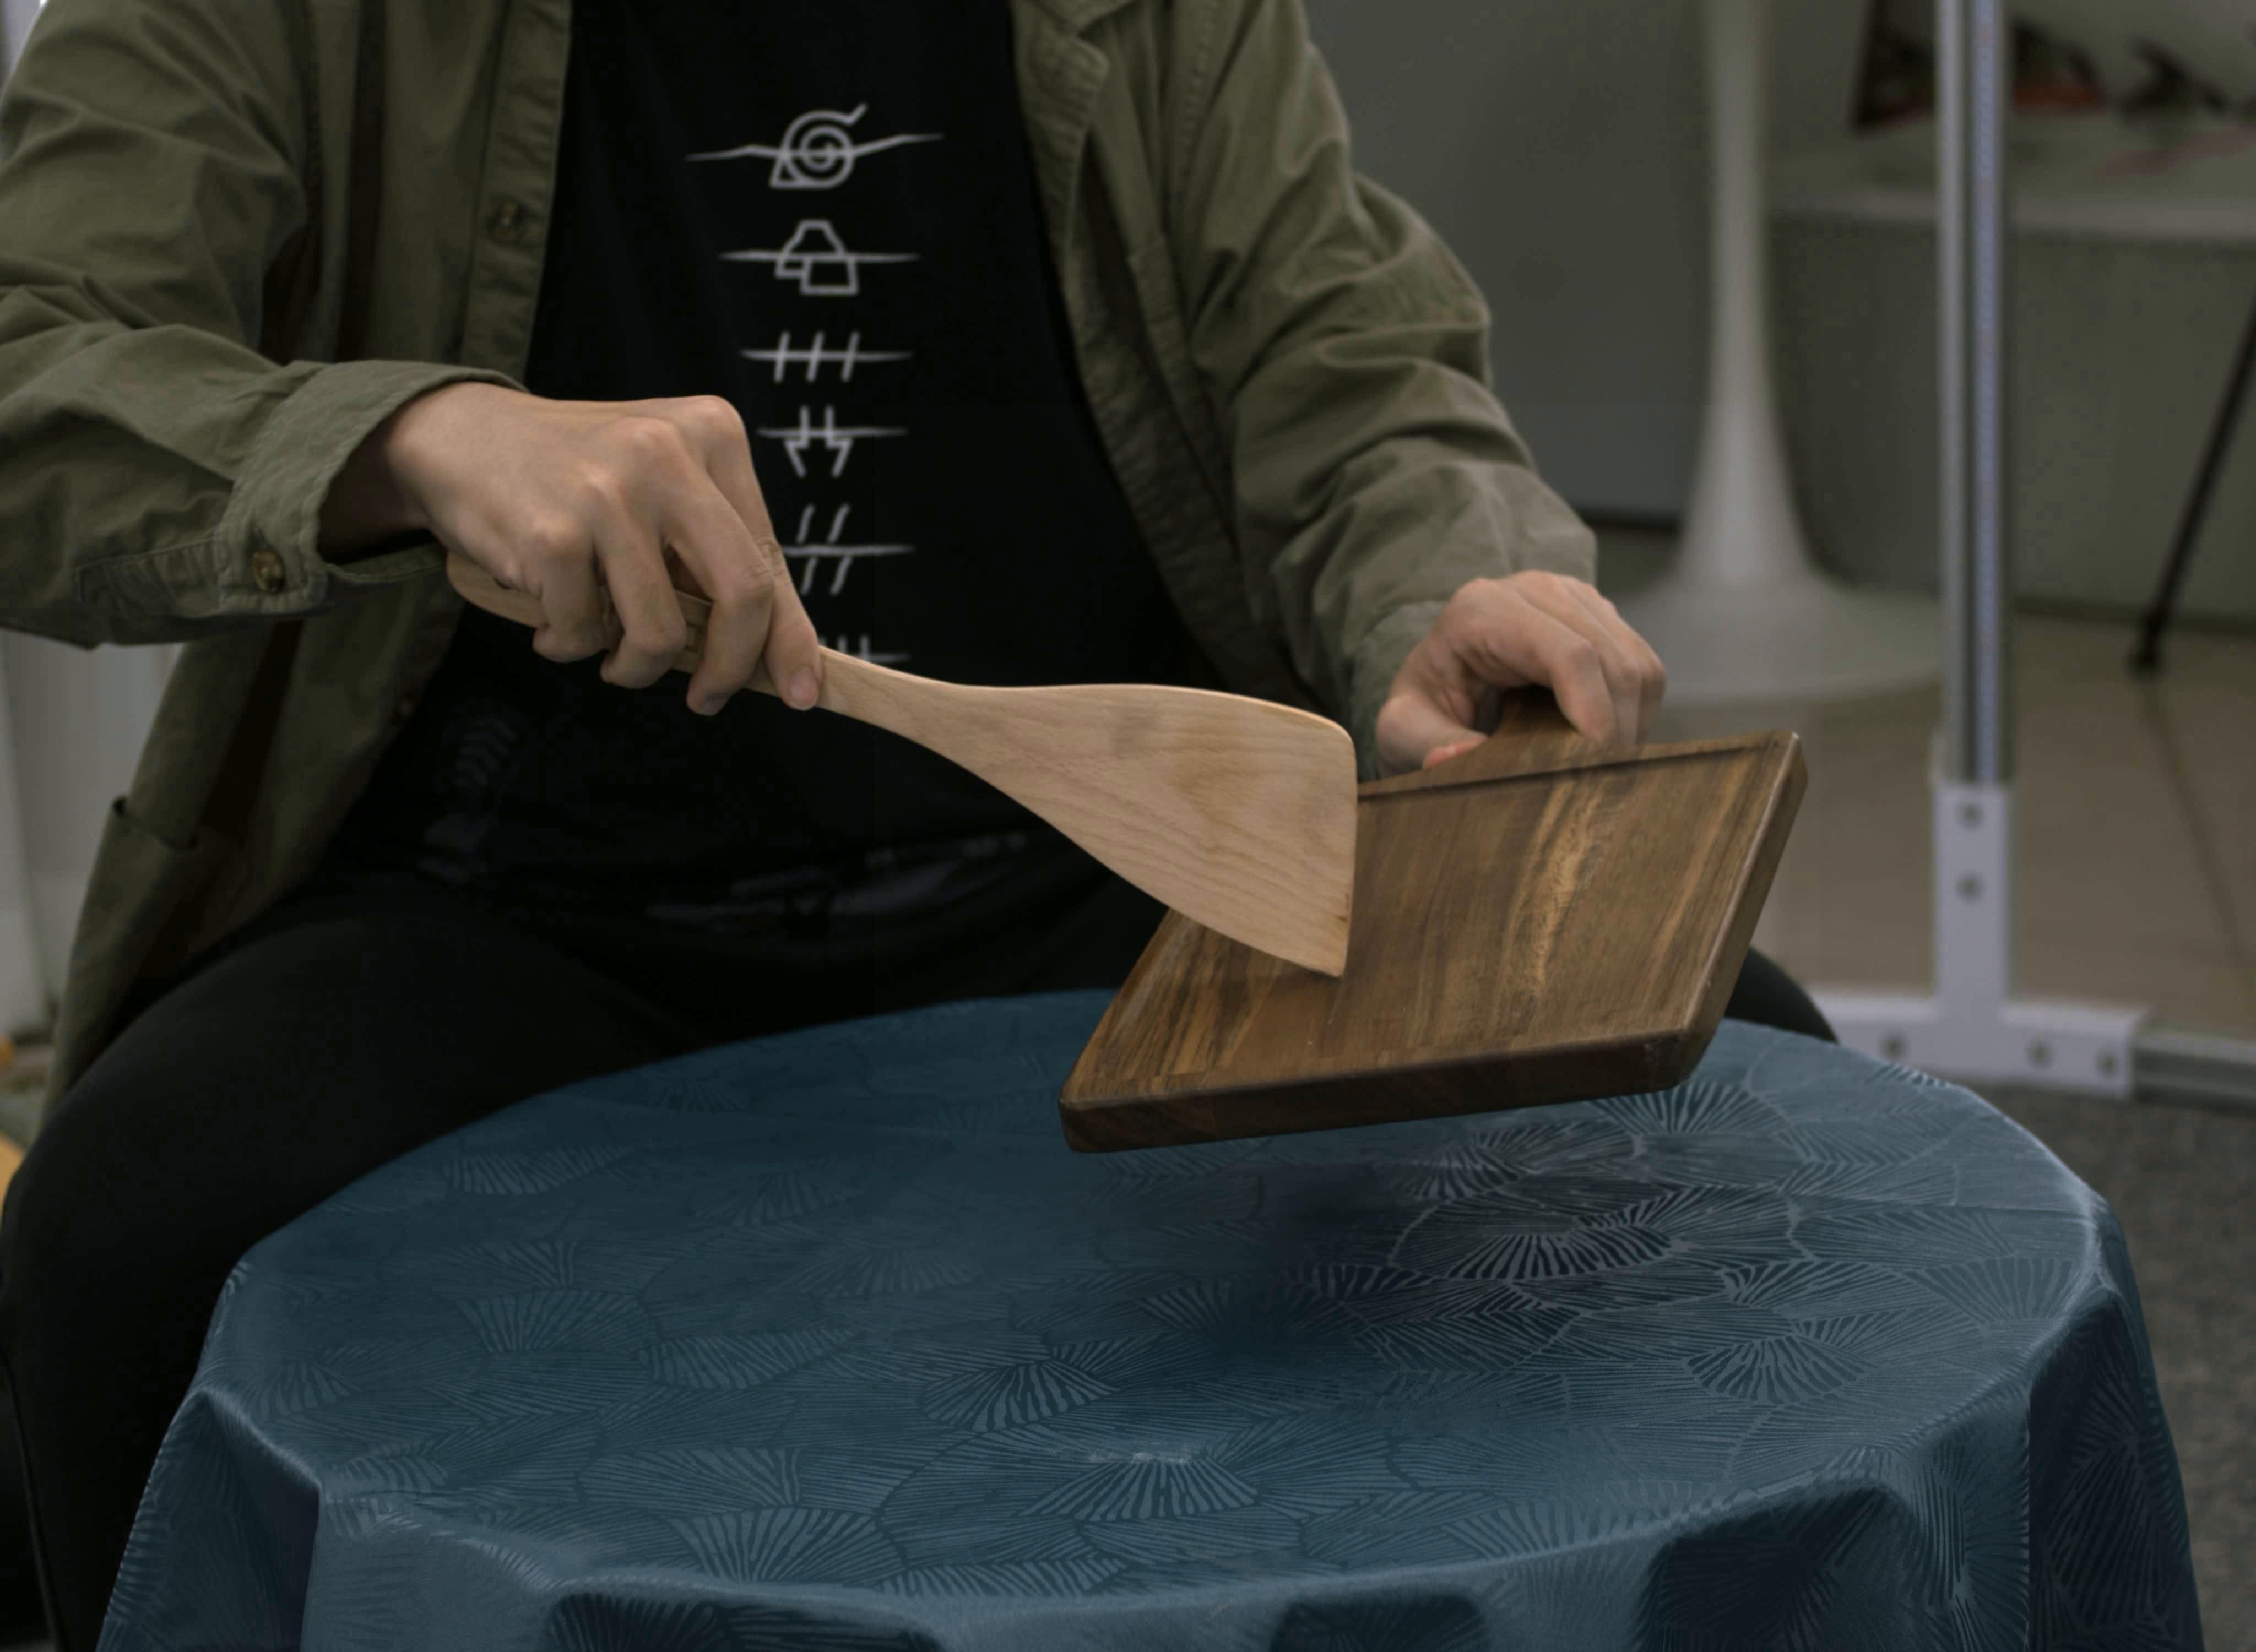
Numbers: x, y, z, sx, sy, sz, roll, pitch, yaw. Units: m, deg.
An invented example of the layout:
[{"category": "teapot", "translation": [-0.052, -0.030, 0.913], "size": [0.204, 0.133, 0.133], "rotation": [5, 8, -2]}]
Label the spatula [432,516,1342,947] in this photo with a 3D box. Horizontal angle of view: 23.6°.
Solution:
[{"category": "spatula", "translation": [-0.077, -0.044, 1.693], "size": [0.327, 0.081, 0.016], "rotation": [17, 20, 19]}]

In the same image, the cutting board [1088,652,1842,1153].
[{"category": "cutting board", "translation": [0.122, 0.013, 1.709], "size": [0.201, 0.023, 0.350], "rotation": [-8, 19, 20]}]
